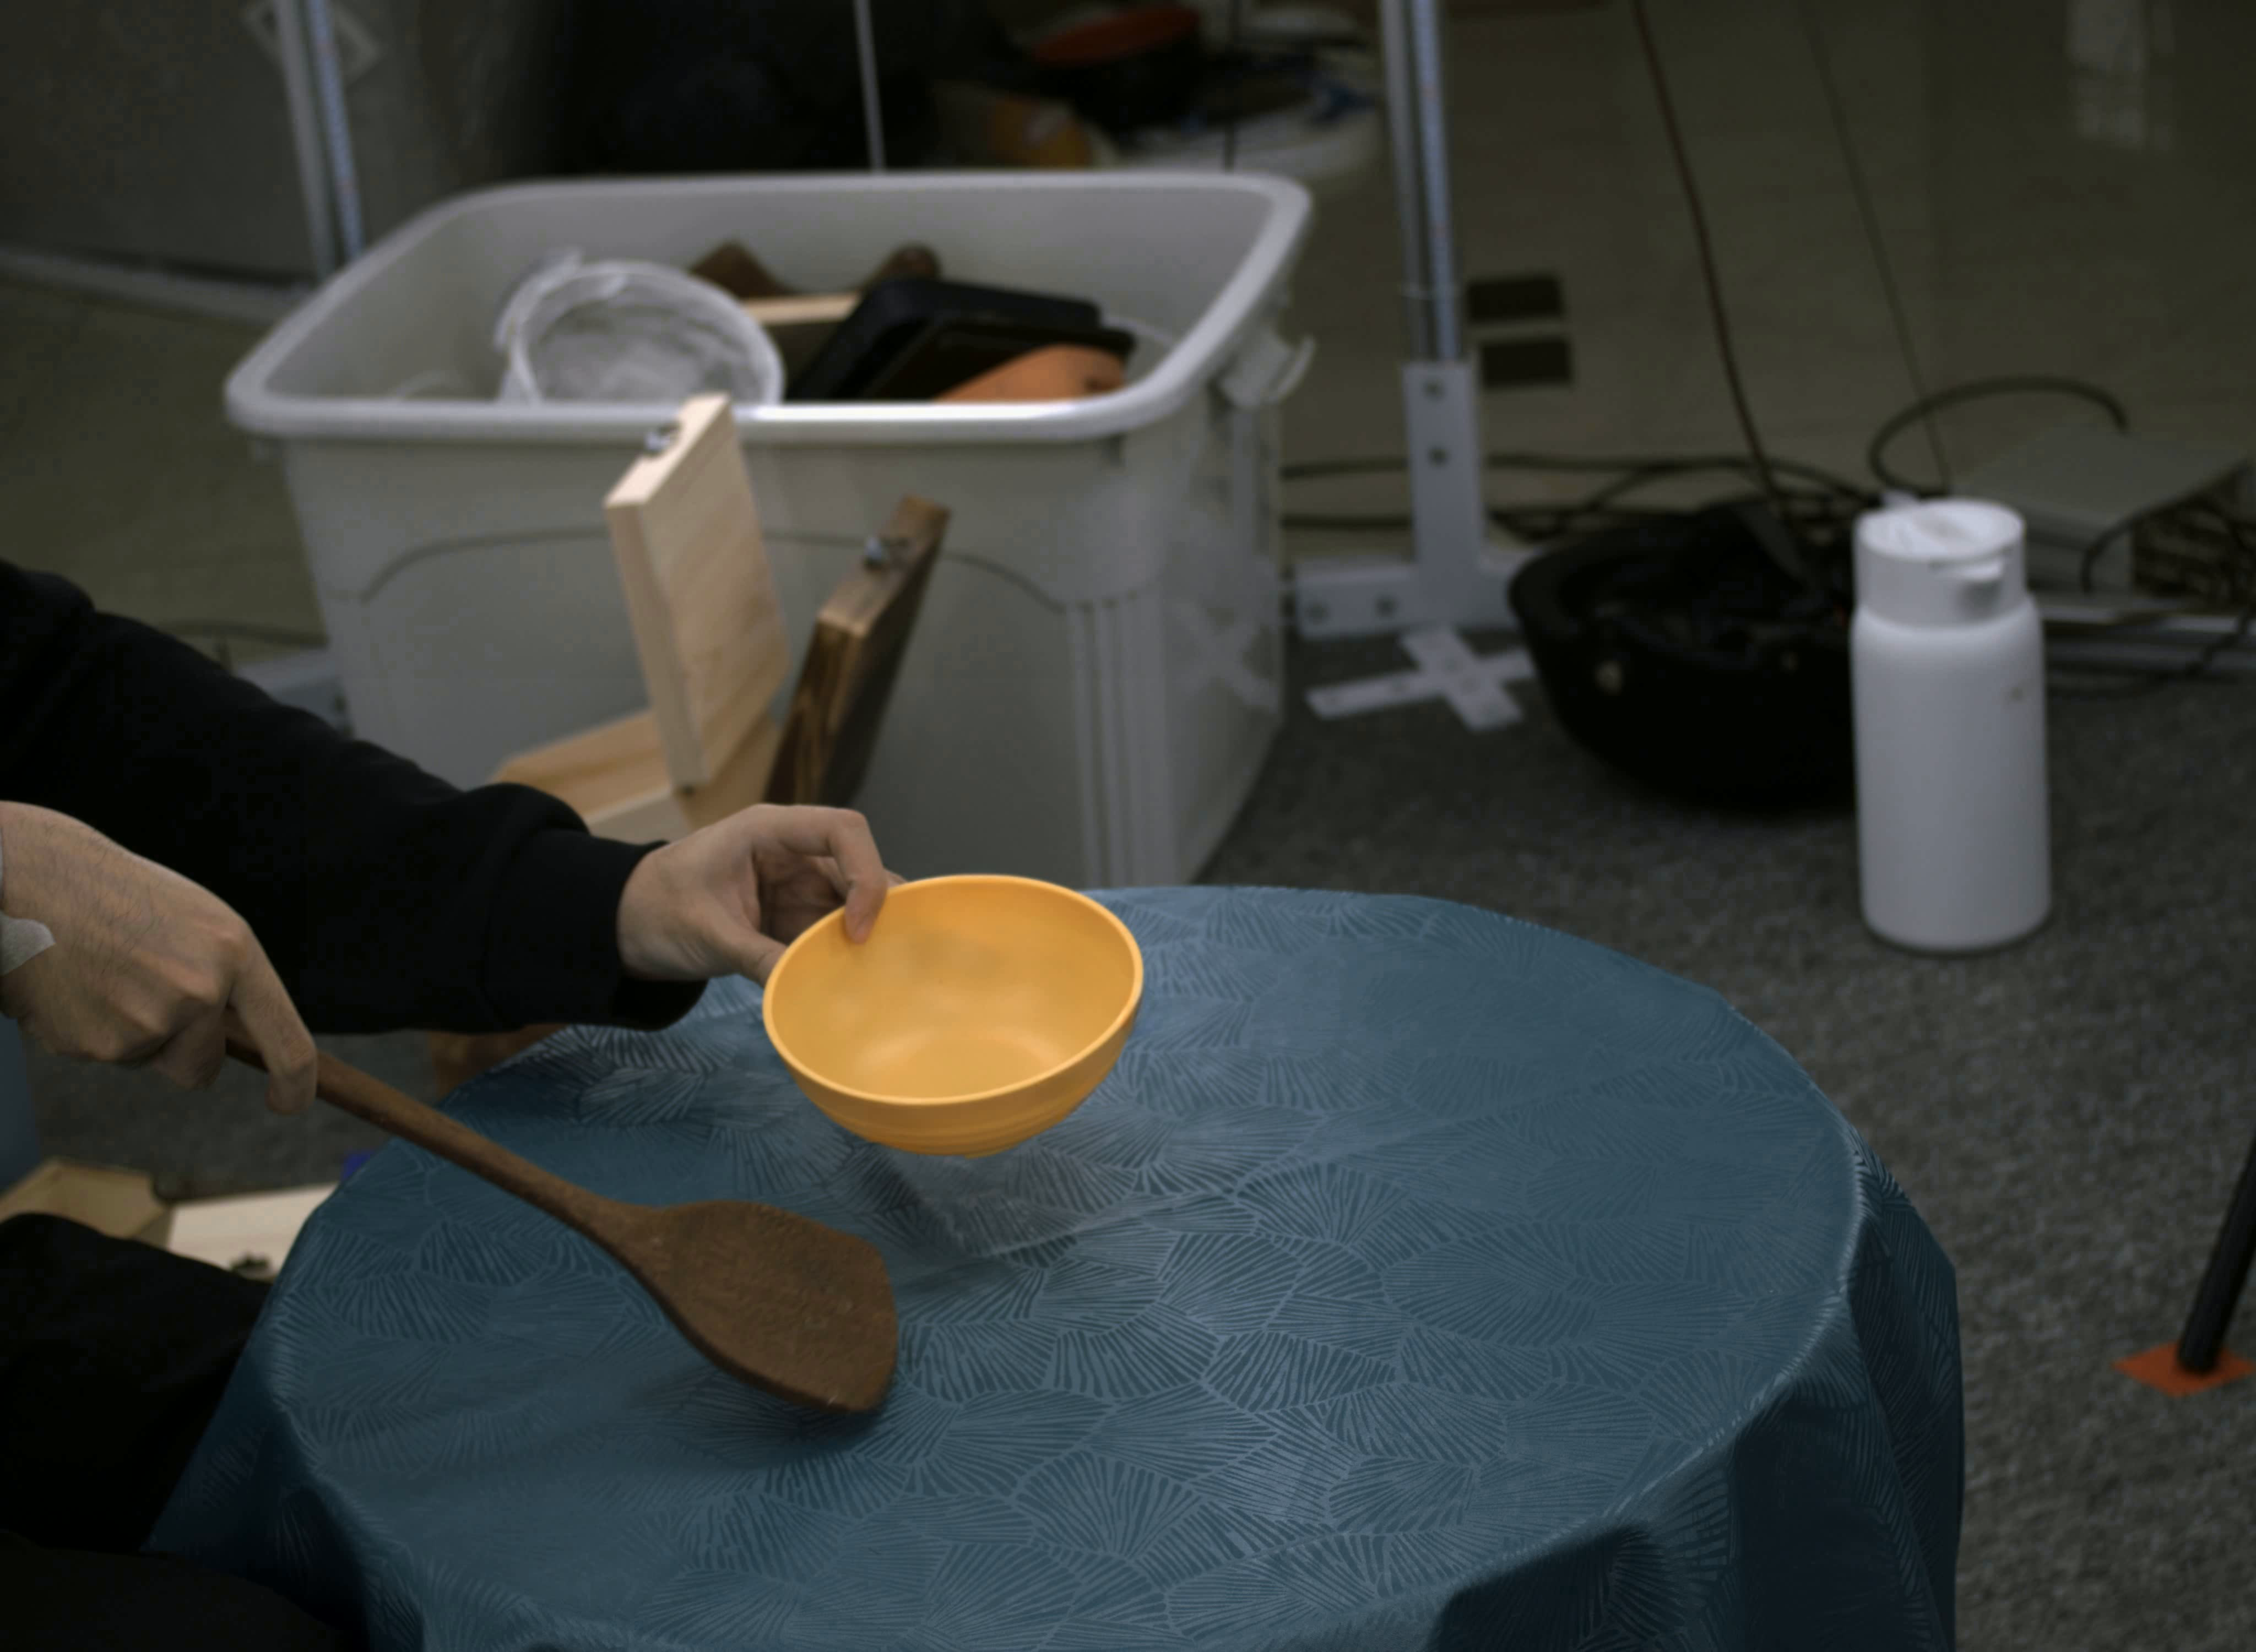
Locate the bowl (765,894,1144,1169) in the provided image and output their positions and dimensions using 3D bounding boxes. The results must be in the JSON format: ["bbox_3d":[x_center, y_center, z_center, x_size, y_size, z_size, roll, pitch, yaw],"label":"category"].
[{"bbox_3d":[-0.063,0.088,2.152,0.145,0.061,0.143,-5,33,3],"label":"bowl"}]

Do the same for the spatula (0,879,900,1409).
[{"bbox_3d":[-0.245,0.103,1.981,0.388,0.016,0.094,28,33,-19],"label":"spatula"}]
